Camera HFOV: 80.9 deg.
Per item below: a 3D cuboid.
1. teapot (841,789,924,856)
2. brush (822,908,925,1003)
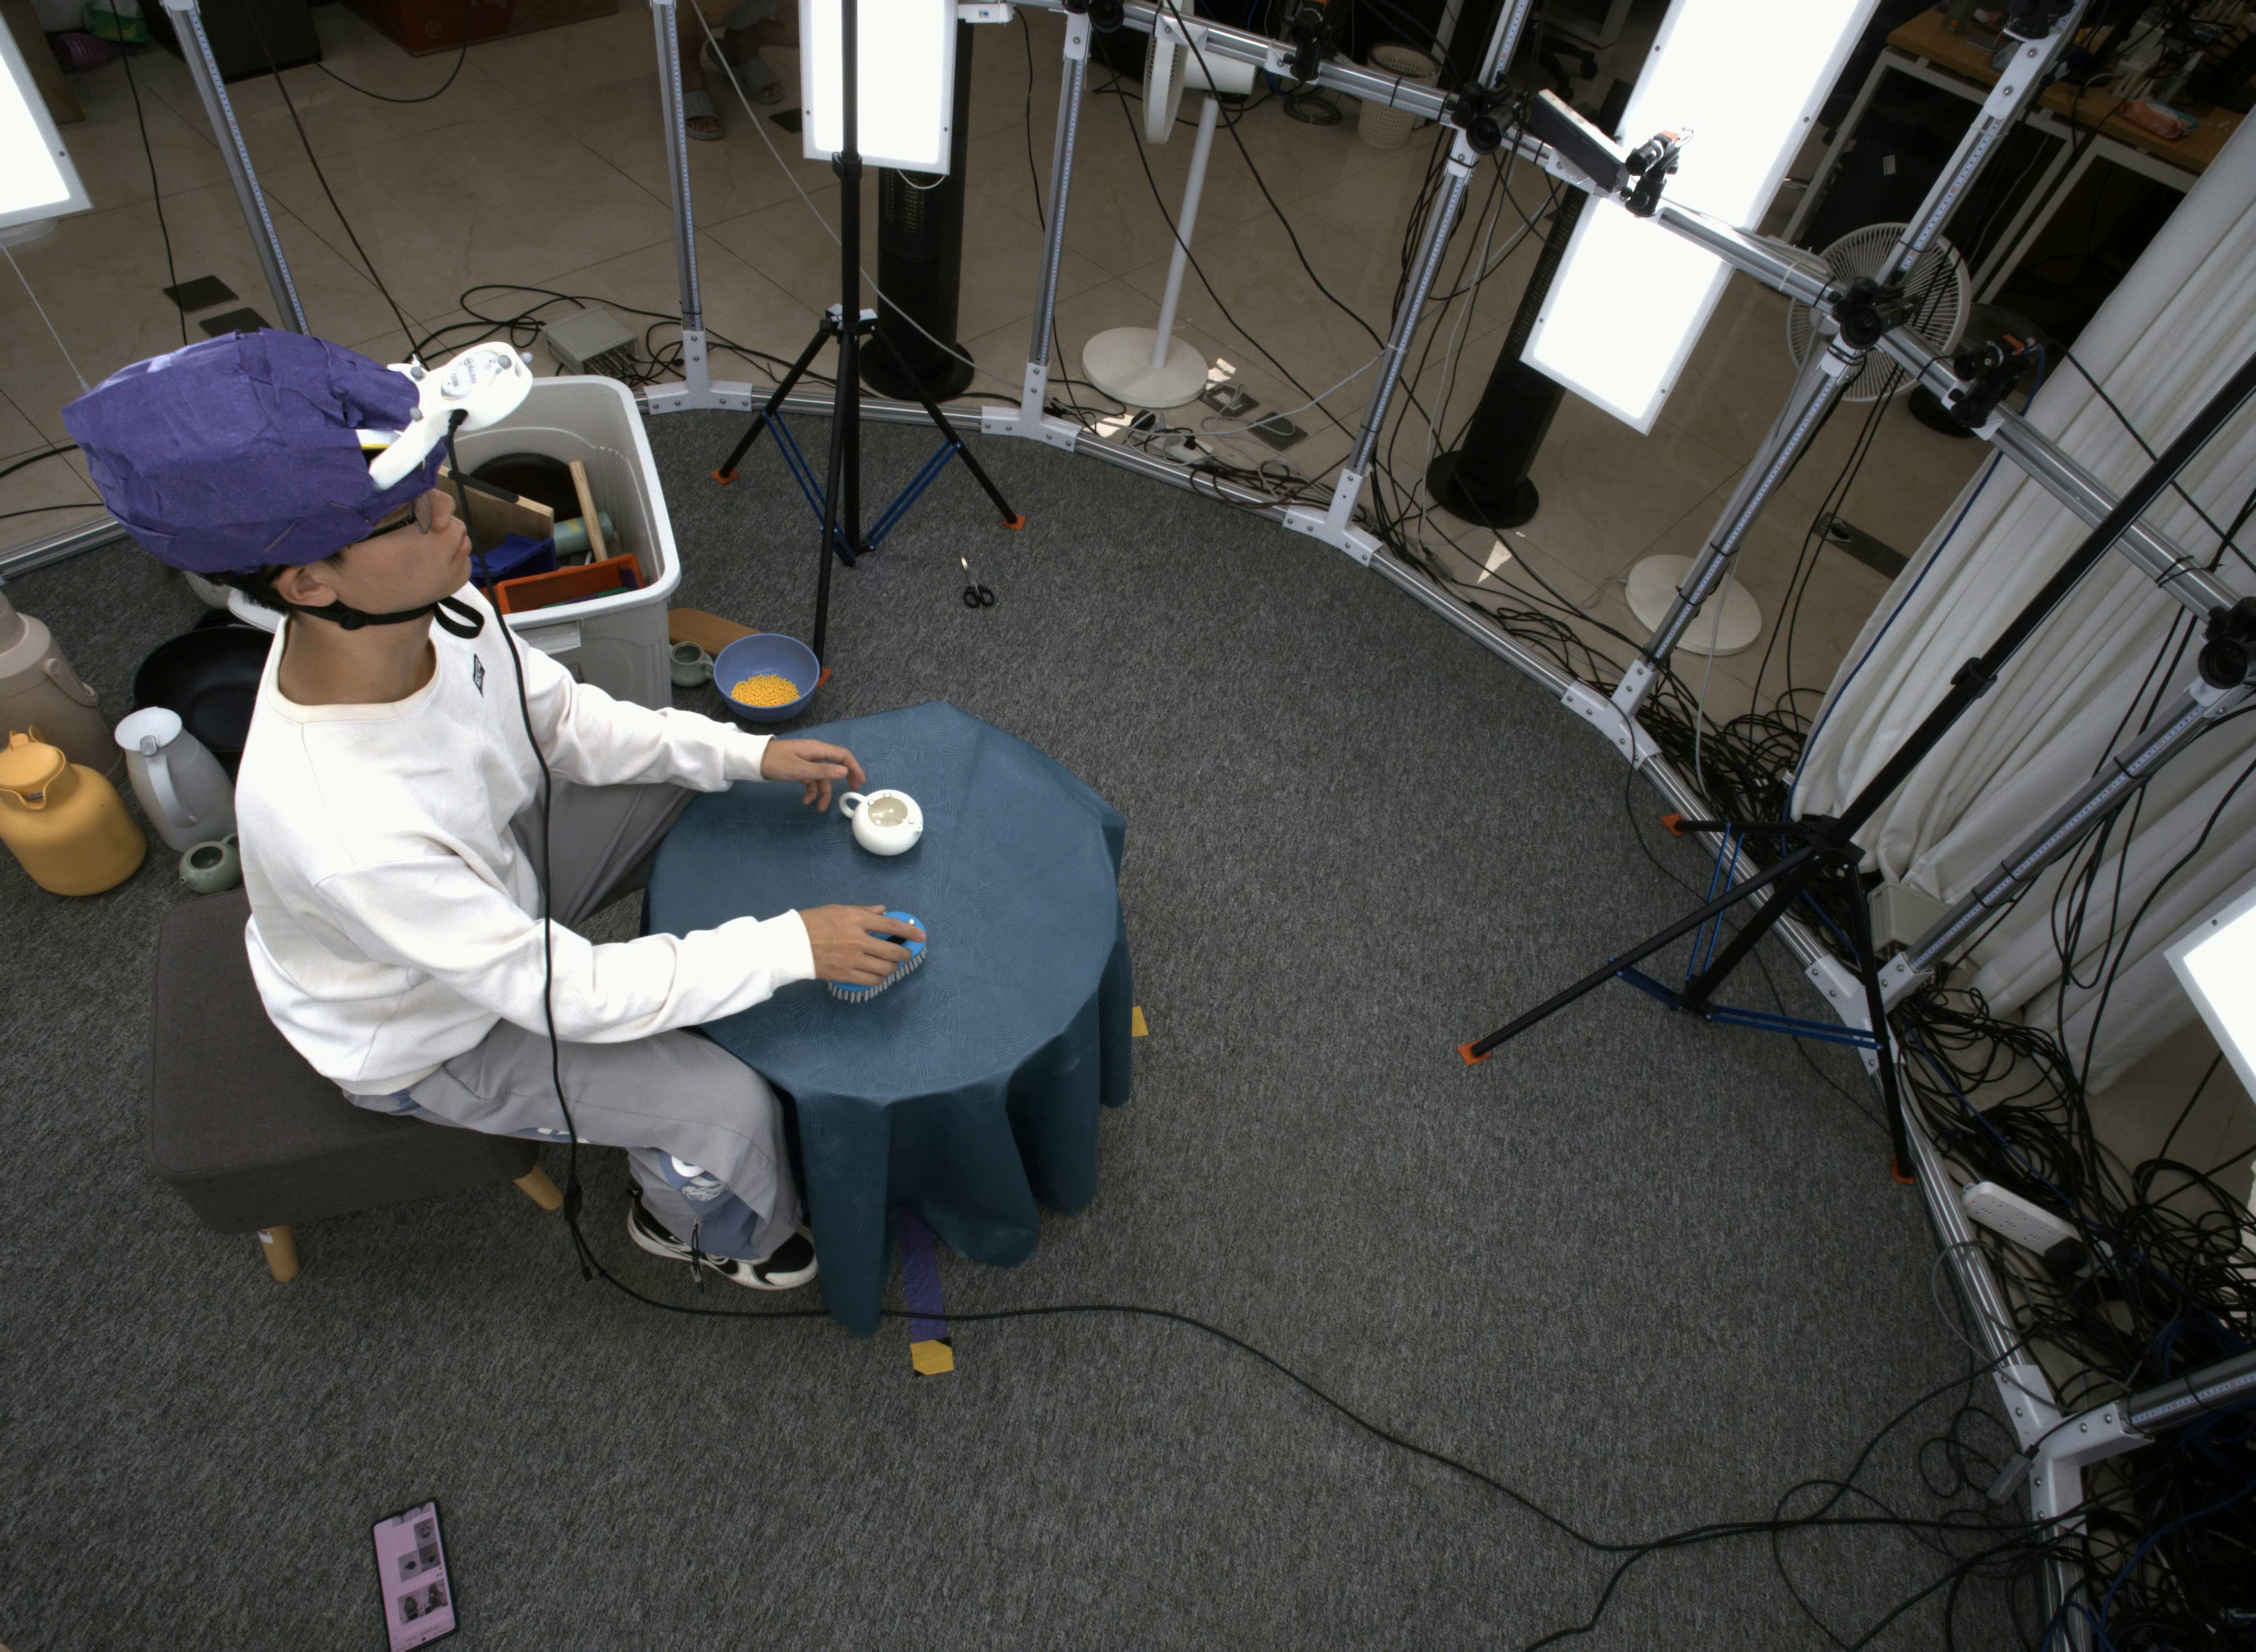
[{"bbox_3d":[-0.328,-0.010,1.730,0.125,0.058,0.093,22,56,5],"label":"teapot"},{"bbox_3d":[-0.311,0.152,1.607,0.142,0.065,0.083,-35,72,-30],"label":"brush"}]
